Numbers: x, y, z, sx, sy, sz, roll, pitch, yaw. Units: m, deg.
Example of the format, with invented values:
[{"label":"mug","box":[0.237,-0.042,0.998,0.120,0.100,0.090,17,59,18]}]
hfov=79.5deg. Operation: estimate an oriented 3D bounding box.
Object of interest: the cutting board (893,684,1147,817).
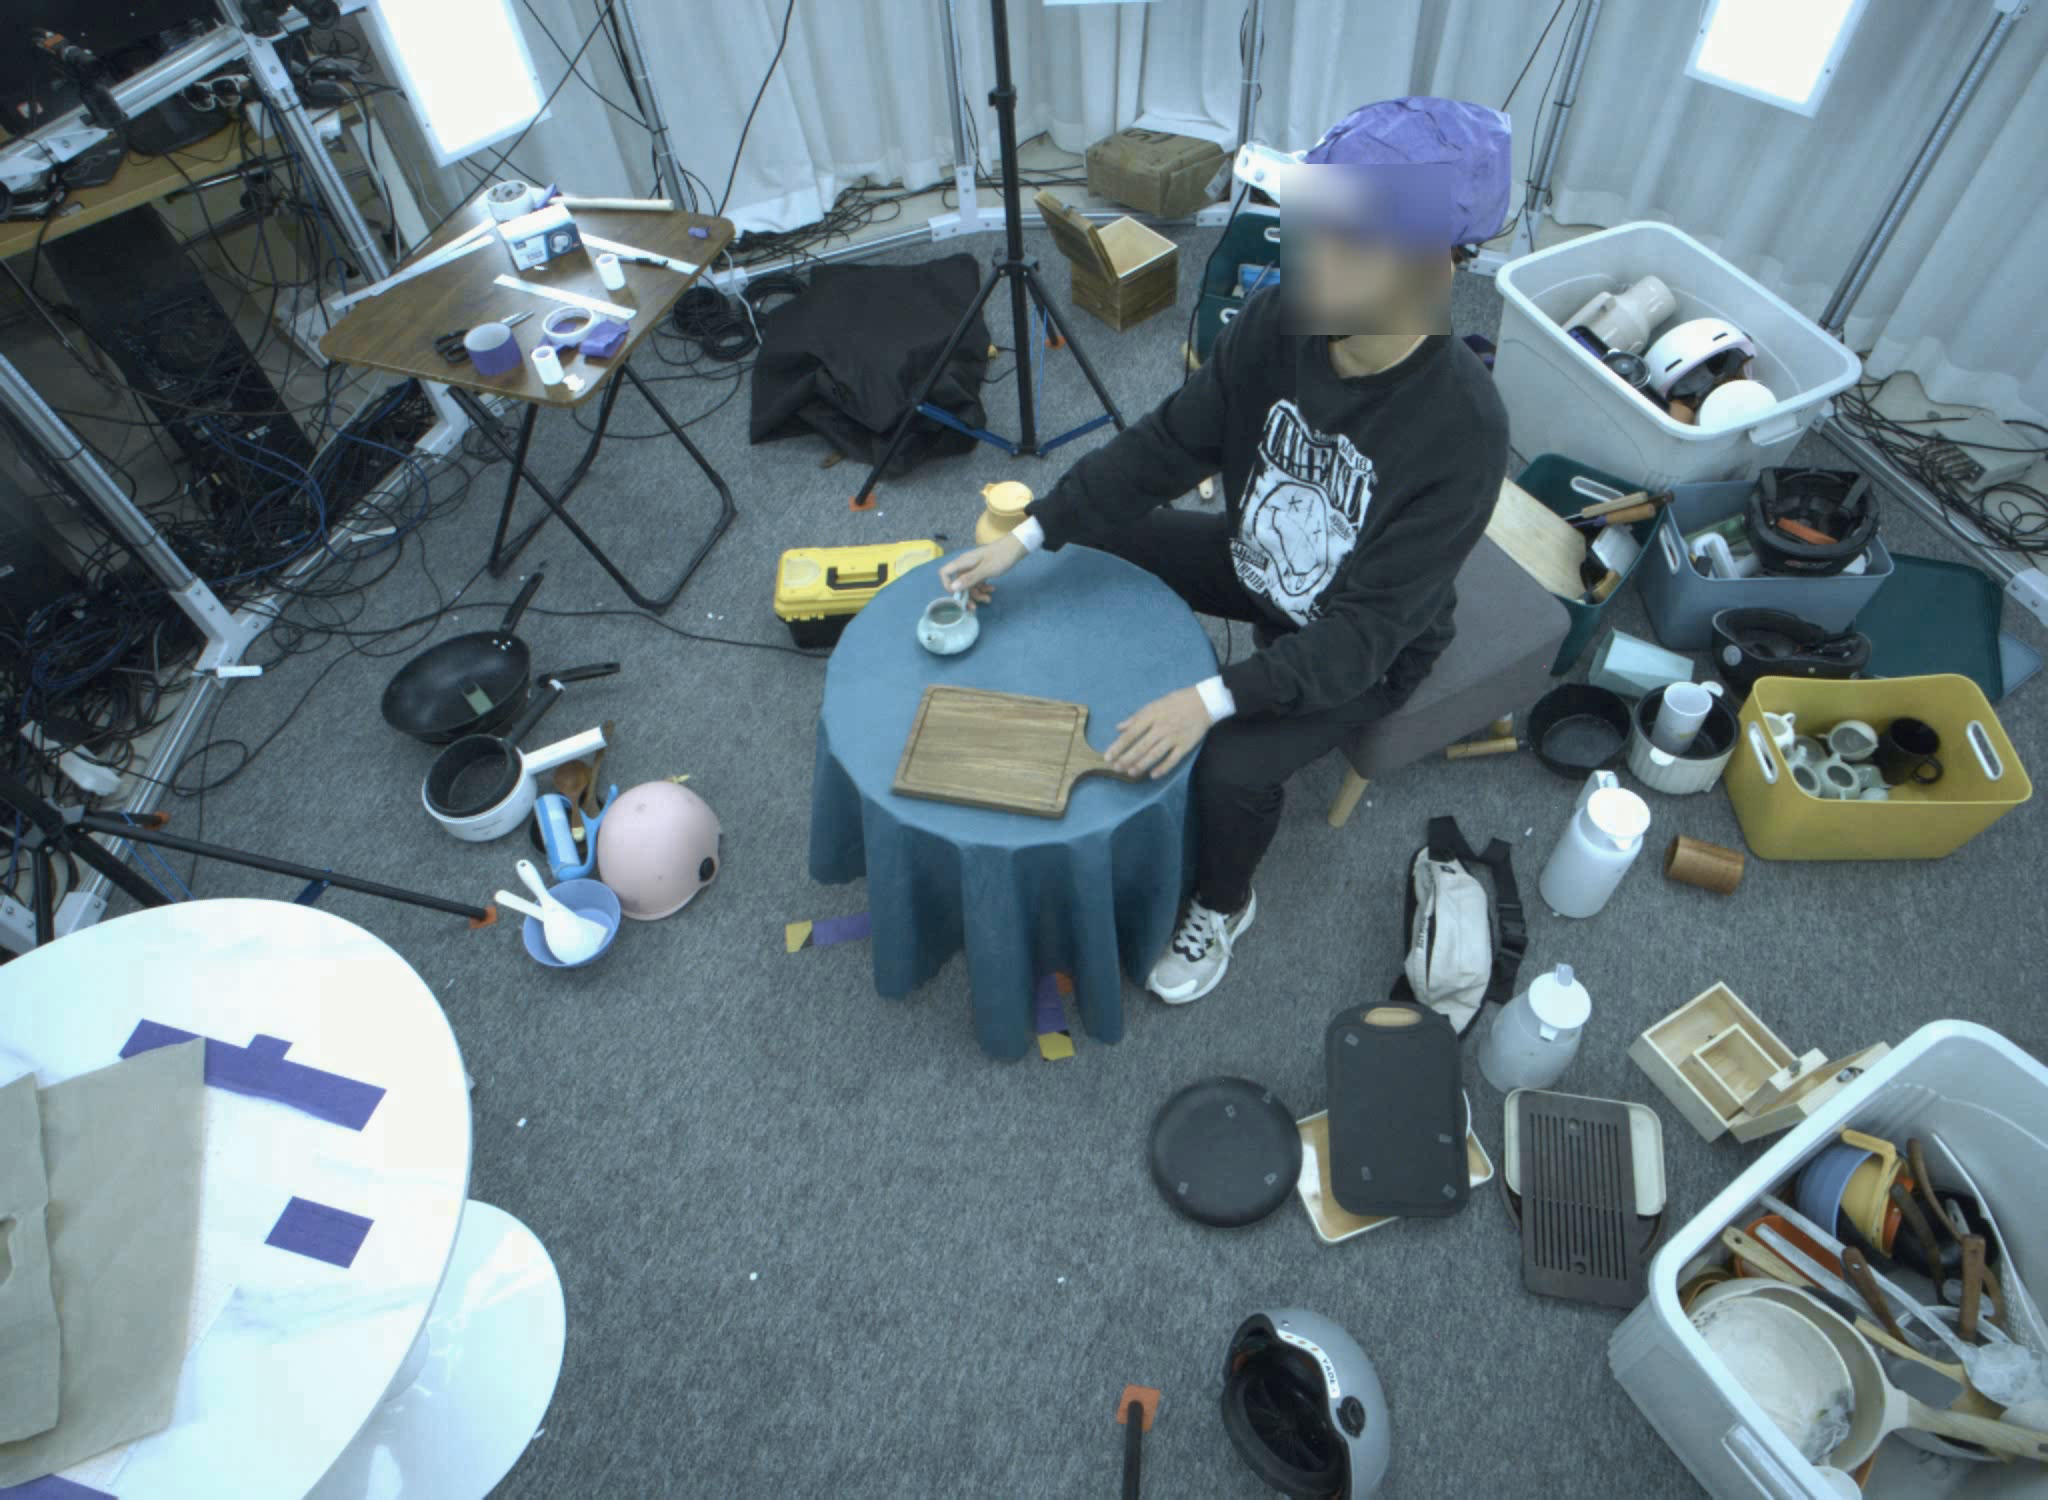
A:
[{"label":"cutting board","box":[0.002,0.003,1.768,0.350,0.023,0.200,8,55,7]}]

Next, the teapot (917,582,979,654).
[{"label":"teapot","box":[-0.118,-0.199,1.892,0.095,0.062,0.137,14,56,15]}]
